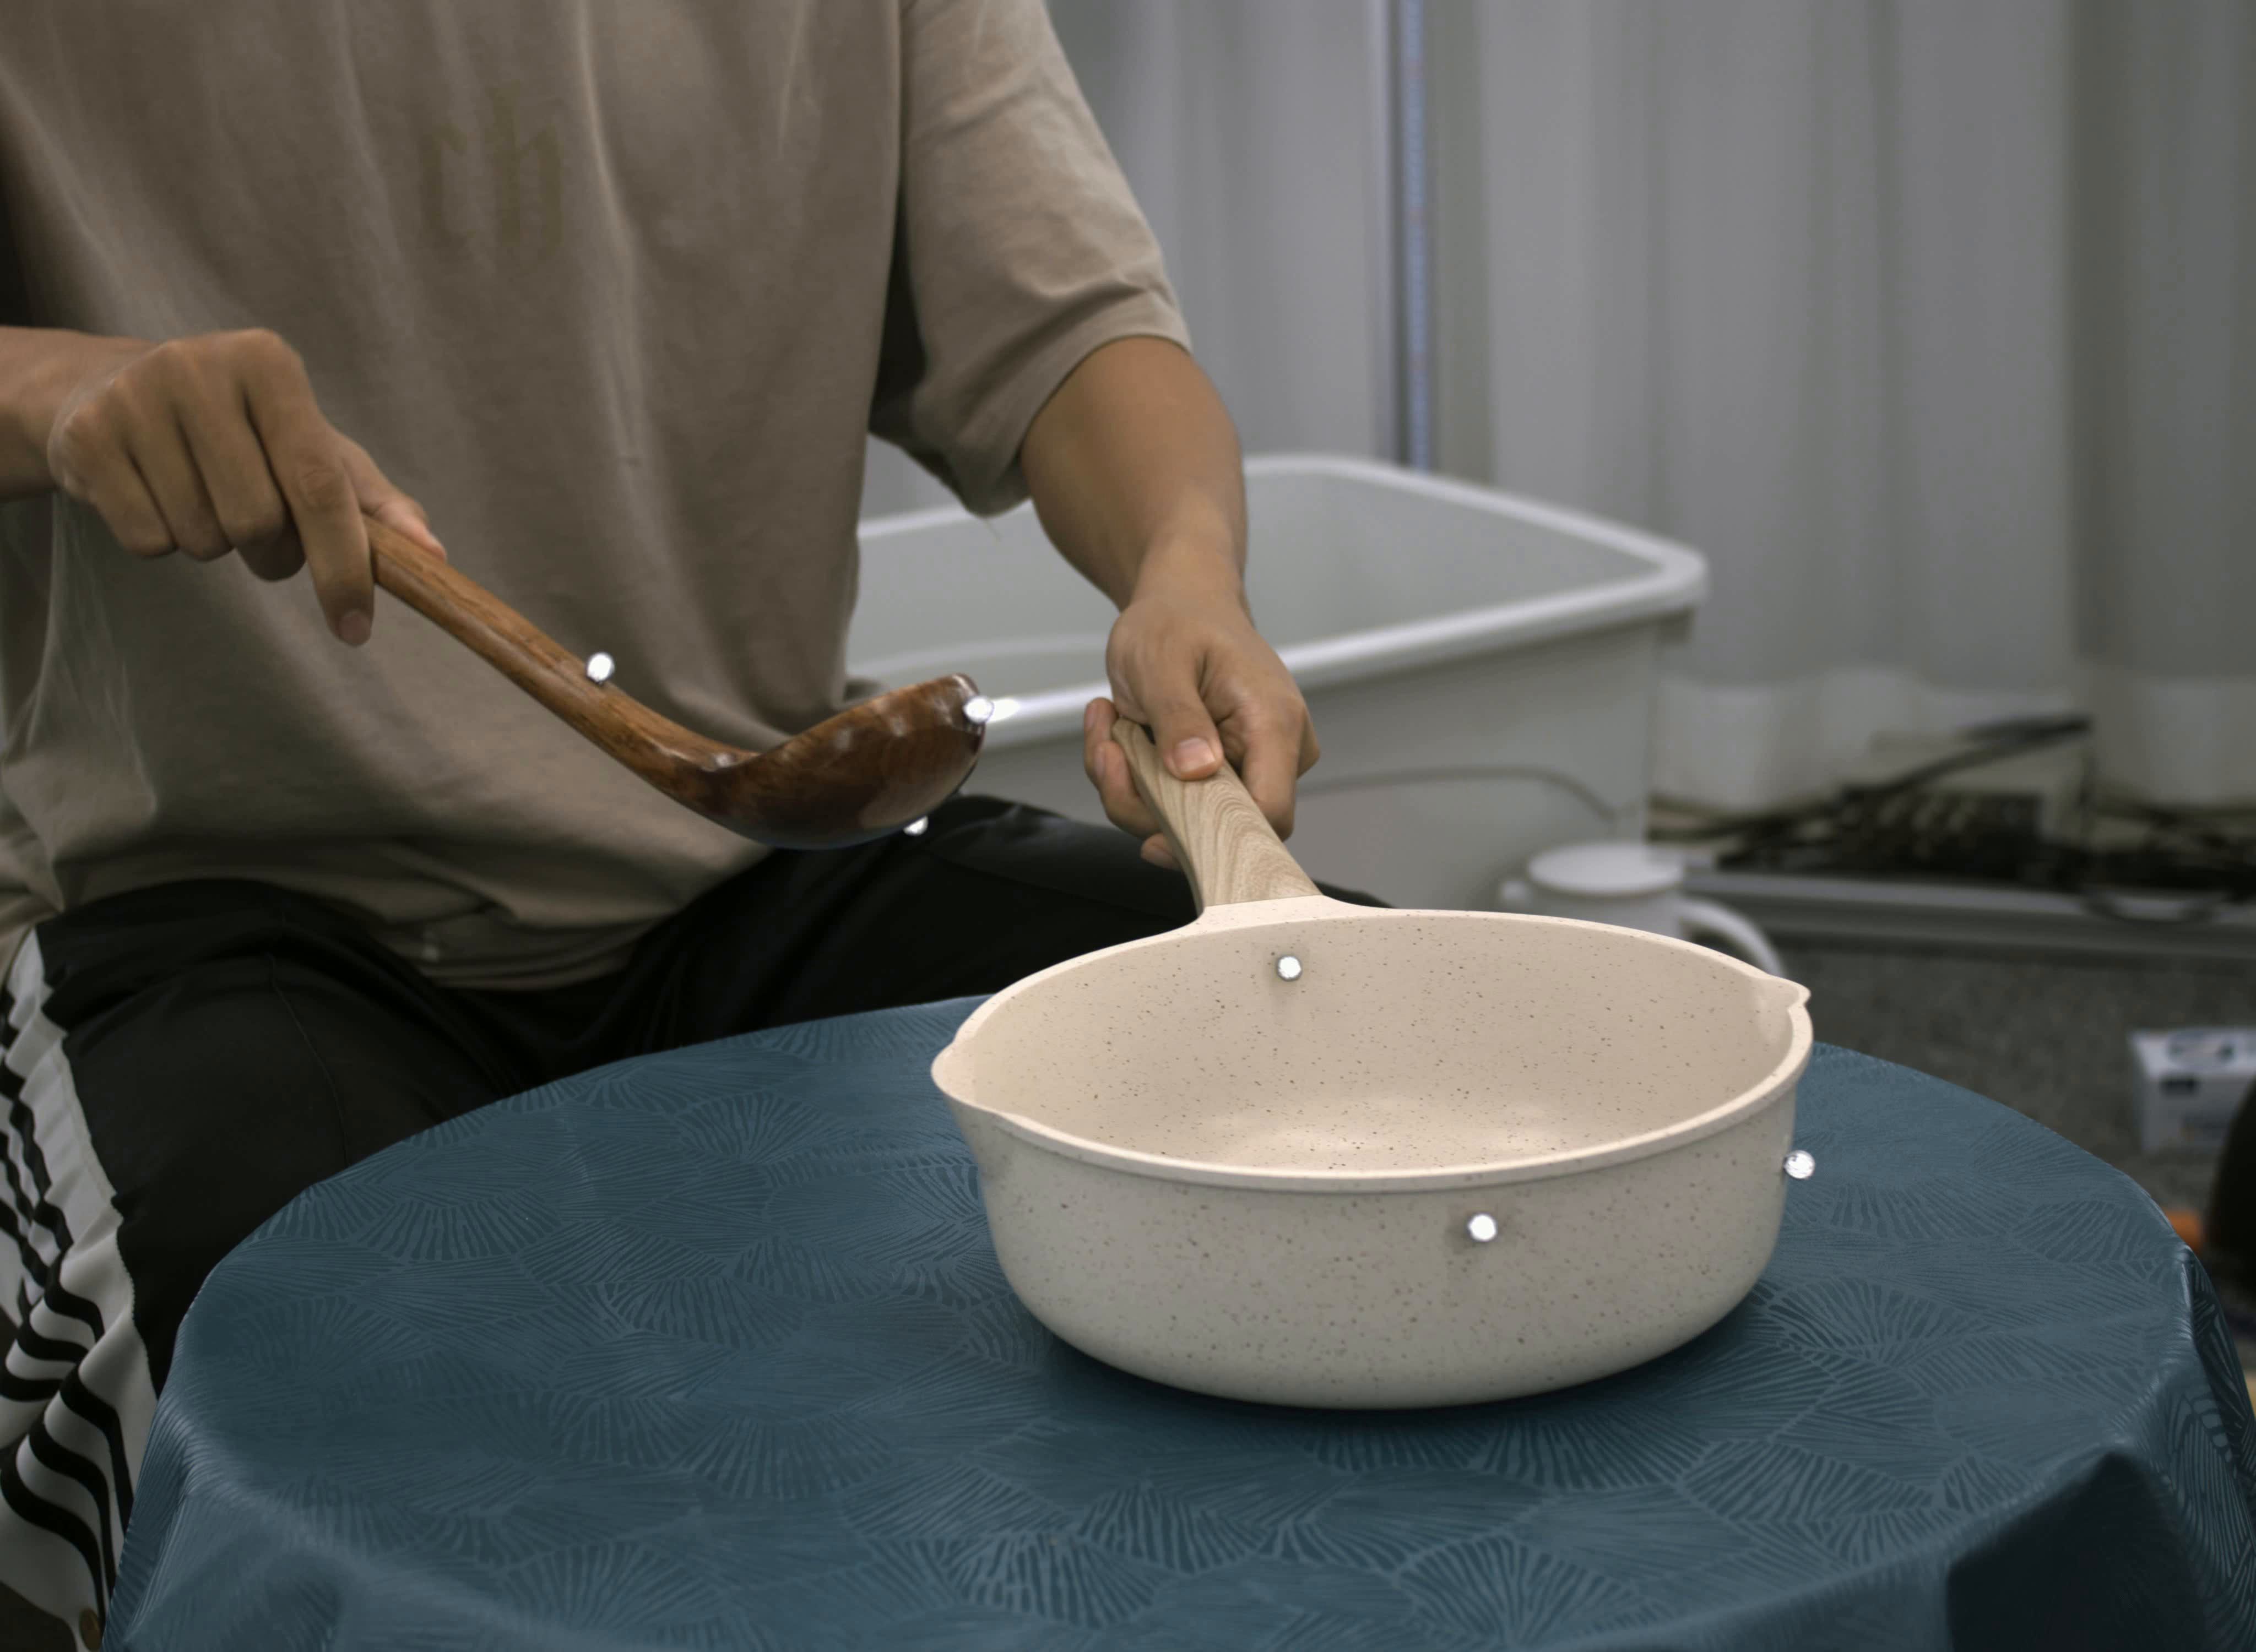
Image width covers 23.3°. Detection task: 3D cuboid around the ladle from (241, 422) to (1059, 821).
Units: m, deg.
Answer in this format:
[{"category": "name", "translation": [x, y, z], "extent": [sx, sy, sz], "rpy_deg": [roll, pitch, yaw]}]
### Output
[{"category": "ladle", "translation": [-0.141, -0.078, 1.580], "extent": [0.276, 0.076, 0.081], "rpy_deg": [32, 11, 24]}]

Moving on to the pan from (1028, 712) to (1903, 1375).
[{"category": "pan", "translation": [0.081, 0.061, 1.691], "extent": [0.262, 0.101, 0.438], "rpy_deg": [-7, 15, -11]}]
